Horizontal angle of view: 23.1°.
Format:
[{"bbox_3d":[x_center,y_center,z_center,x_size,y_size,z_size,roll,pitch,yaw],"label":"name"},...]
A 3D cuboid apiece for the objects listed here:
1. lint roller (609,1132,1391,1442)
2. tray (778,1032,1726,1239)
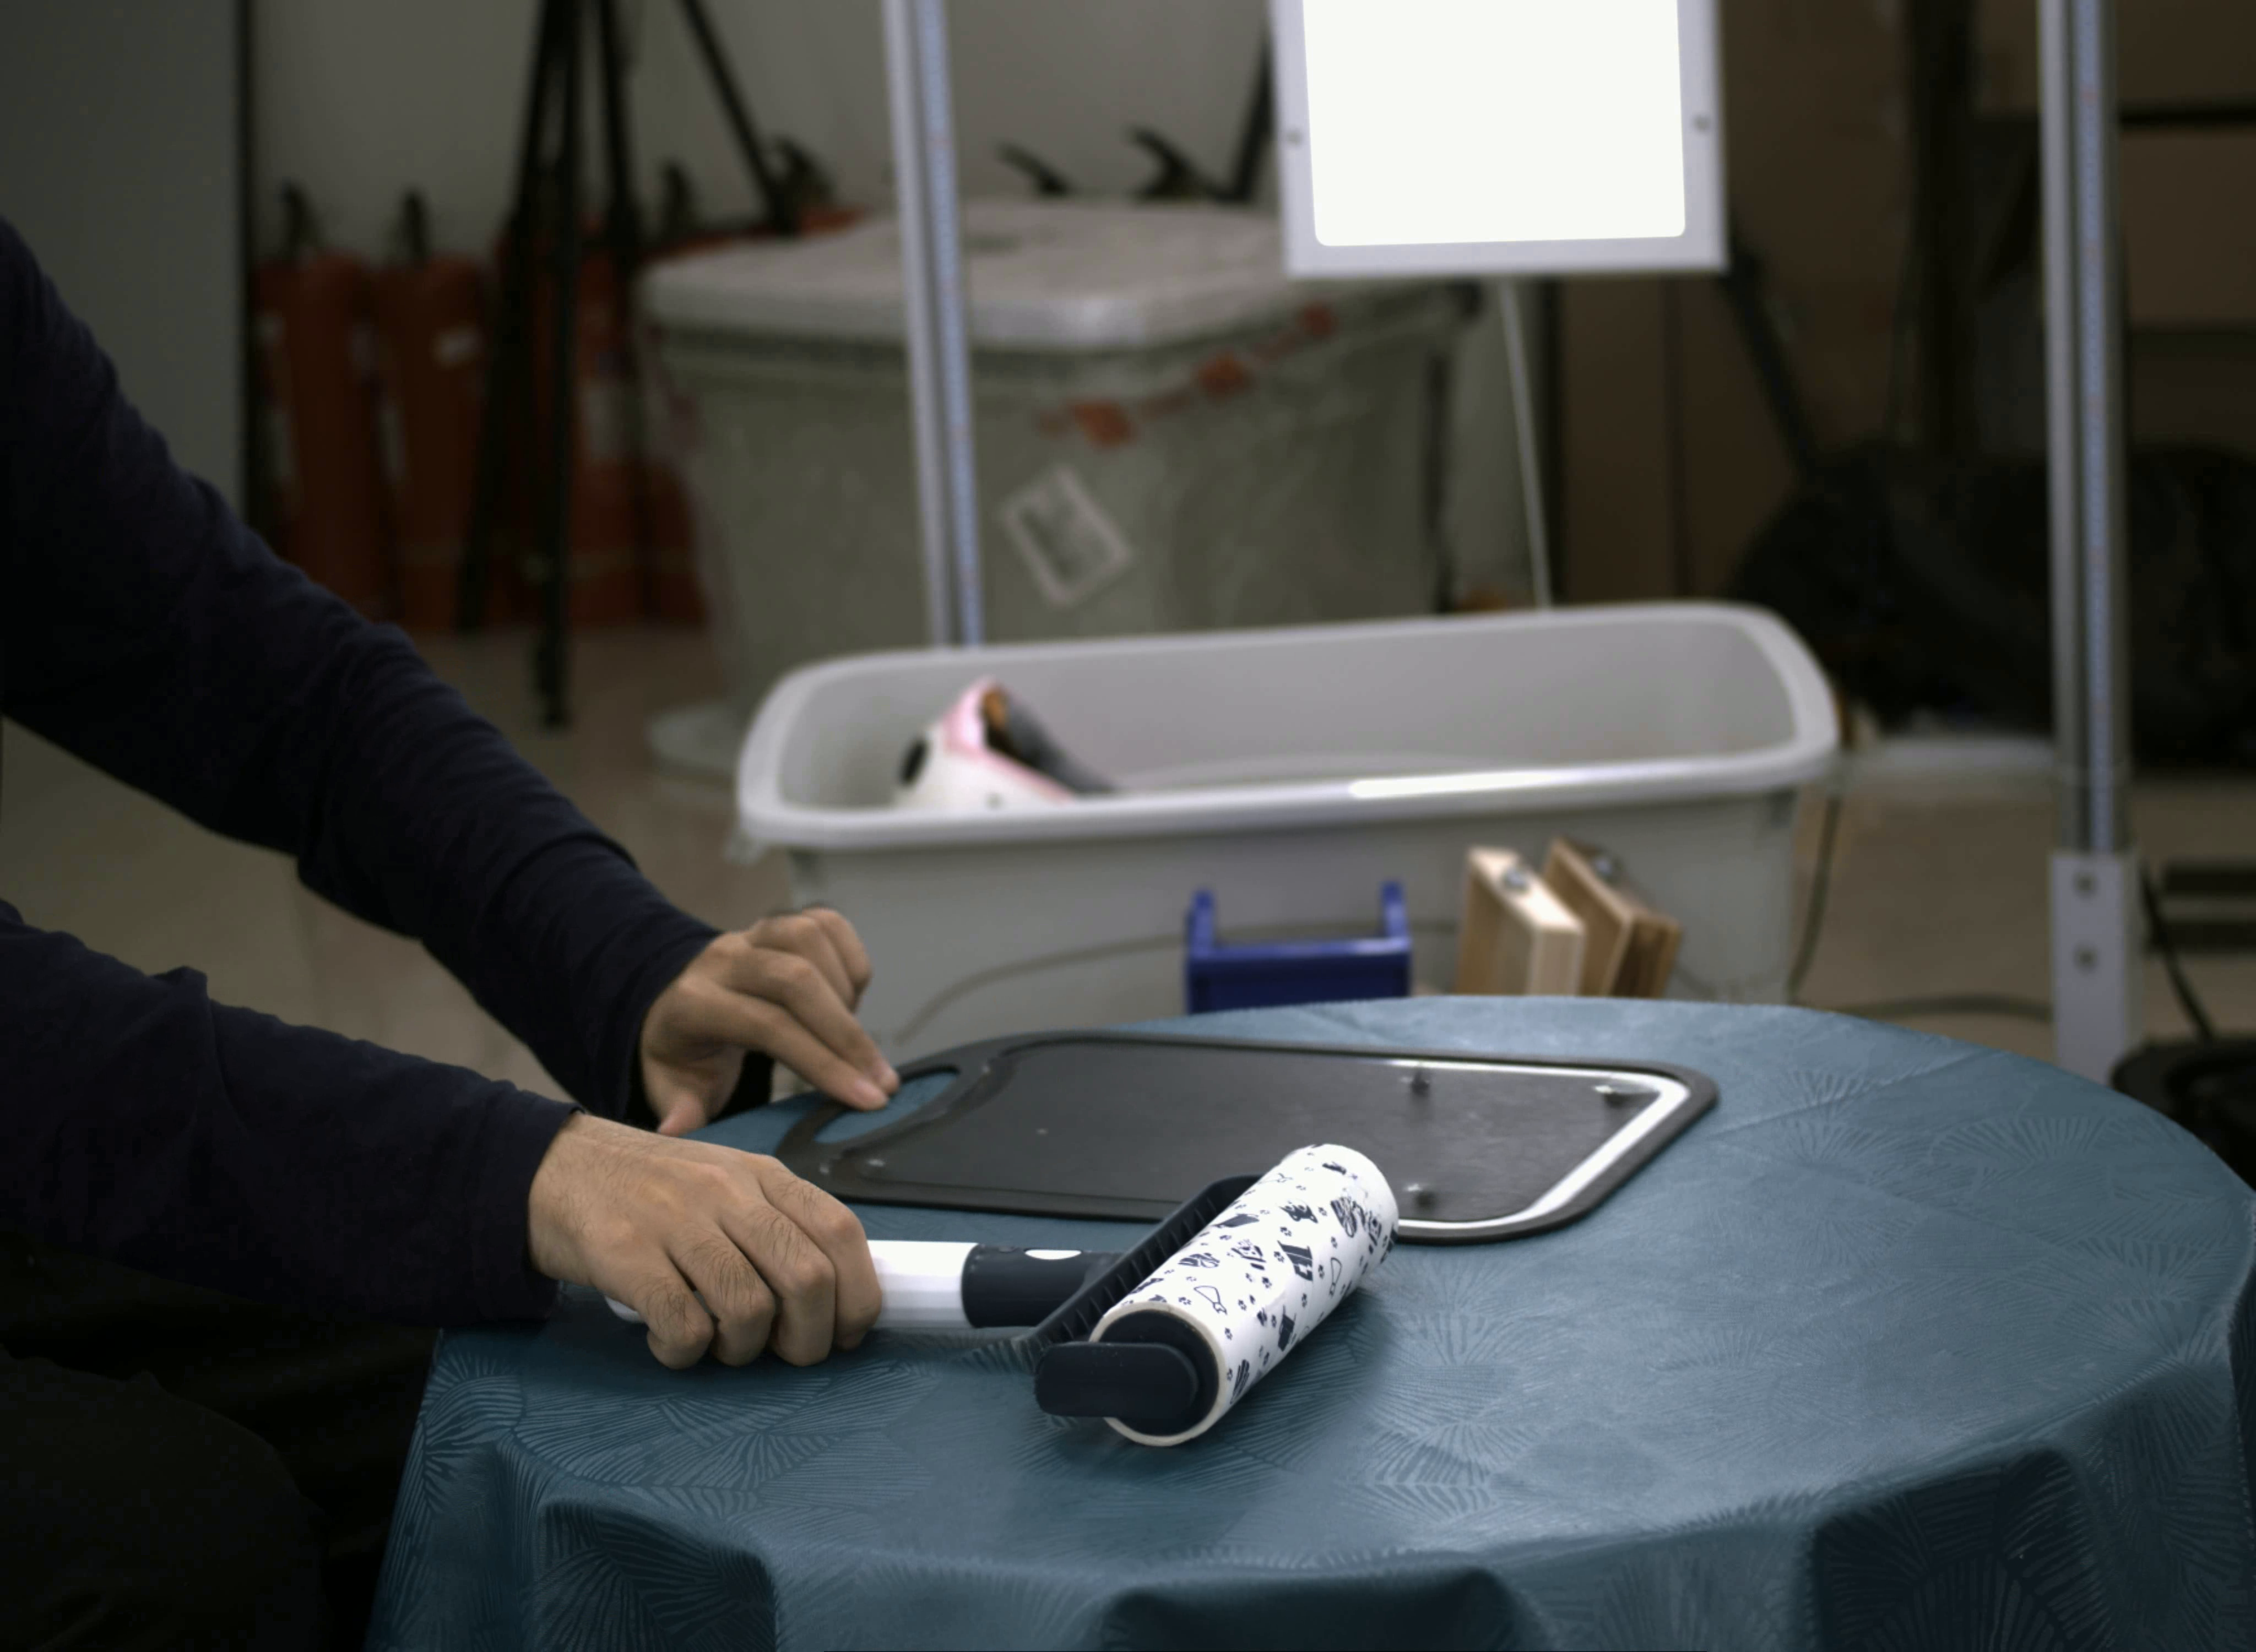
[{"bbox_3d":[-0.056,0.147,1.758,0.251,0.050,0.173,-2,14,24],"label":"lint roller"},{"bbox_3d":[0.037,0.107,1.958,0.331,0.010,0.206,2,15,28],"label":"tray"}]
